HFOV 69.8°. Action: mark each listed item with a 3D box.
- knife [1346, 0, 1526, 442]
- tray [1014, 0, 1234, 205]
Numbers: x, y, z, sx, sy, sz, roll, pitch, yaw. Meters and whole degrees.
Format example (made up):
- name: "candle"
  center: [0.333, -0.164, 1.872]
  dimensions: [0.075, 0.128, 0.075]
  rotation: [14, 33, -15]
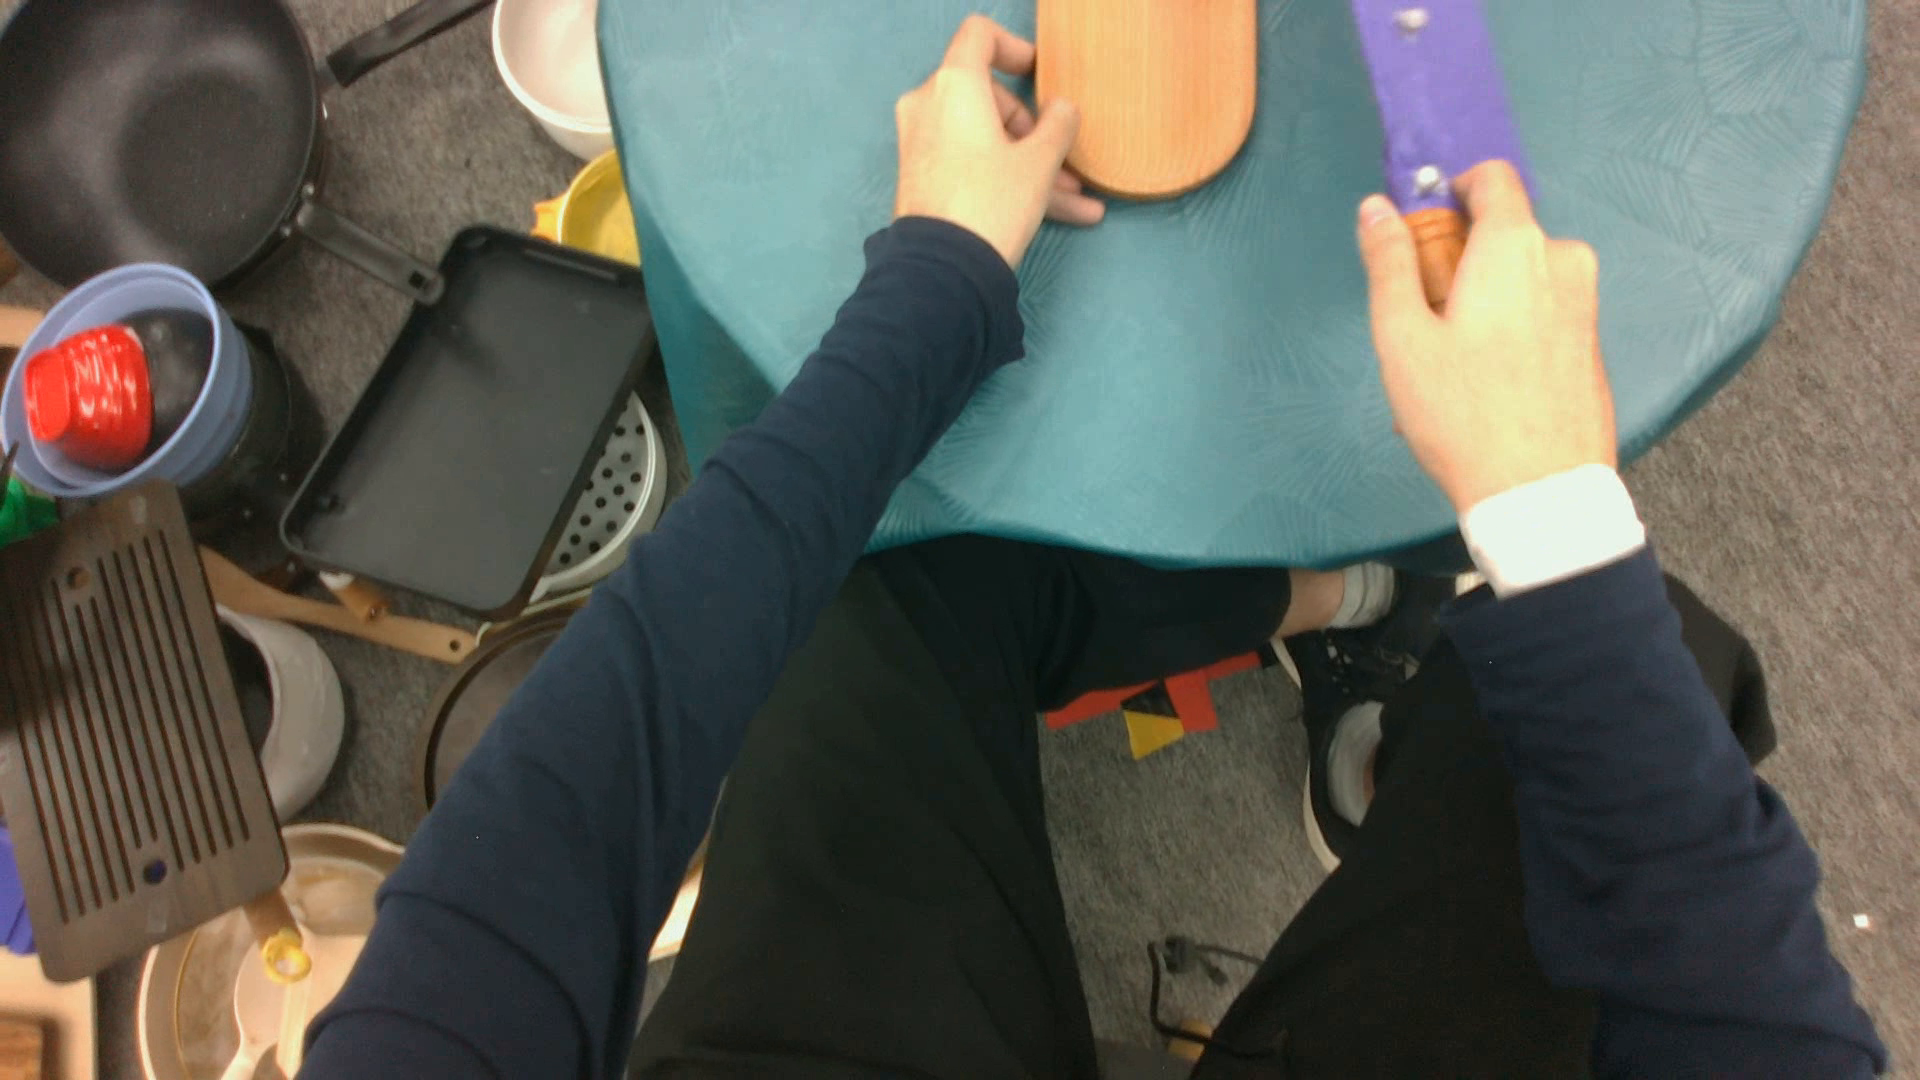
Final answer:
- name: "knife"
  center: [0.188, -0.194, 0.550]
  dimensions: [0.104, 0.032, 0.315]
  rotation: [-3, 79, -33]
- name: "tray"
  center: [0.076, -0.267, 0.653]
  dimensions: [0.101, 0.020, 0.231]
  rotation: [0, 80, 0]
